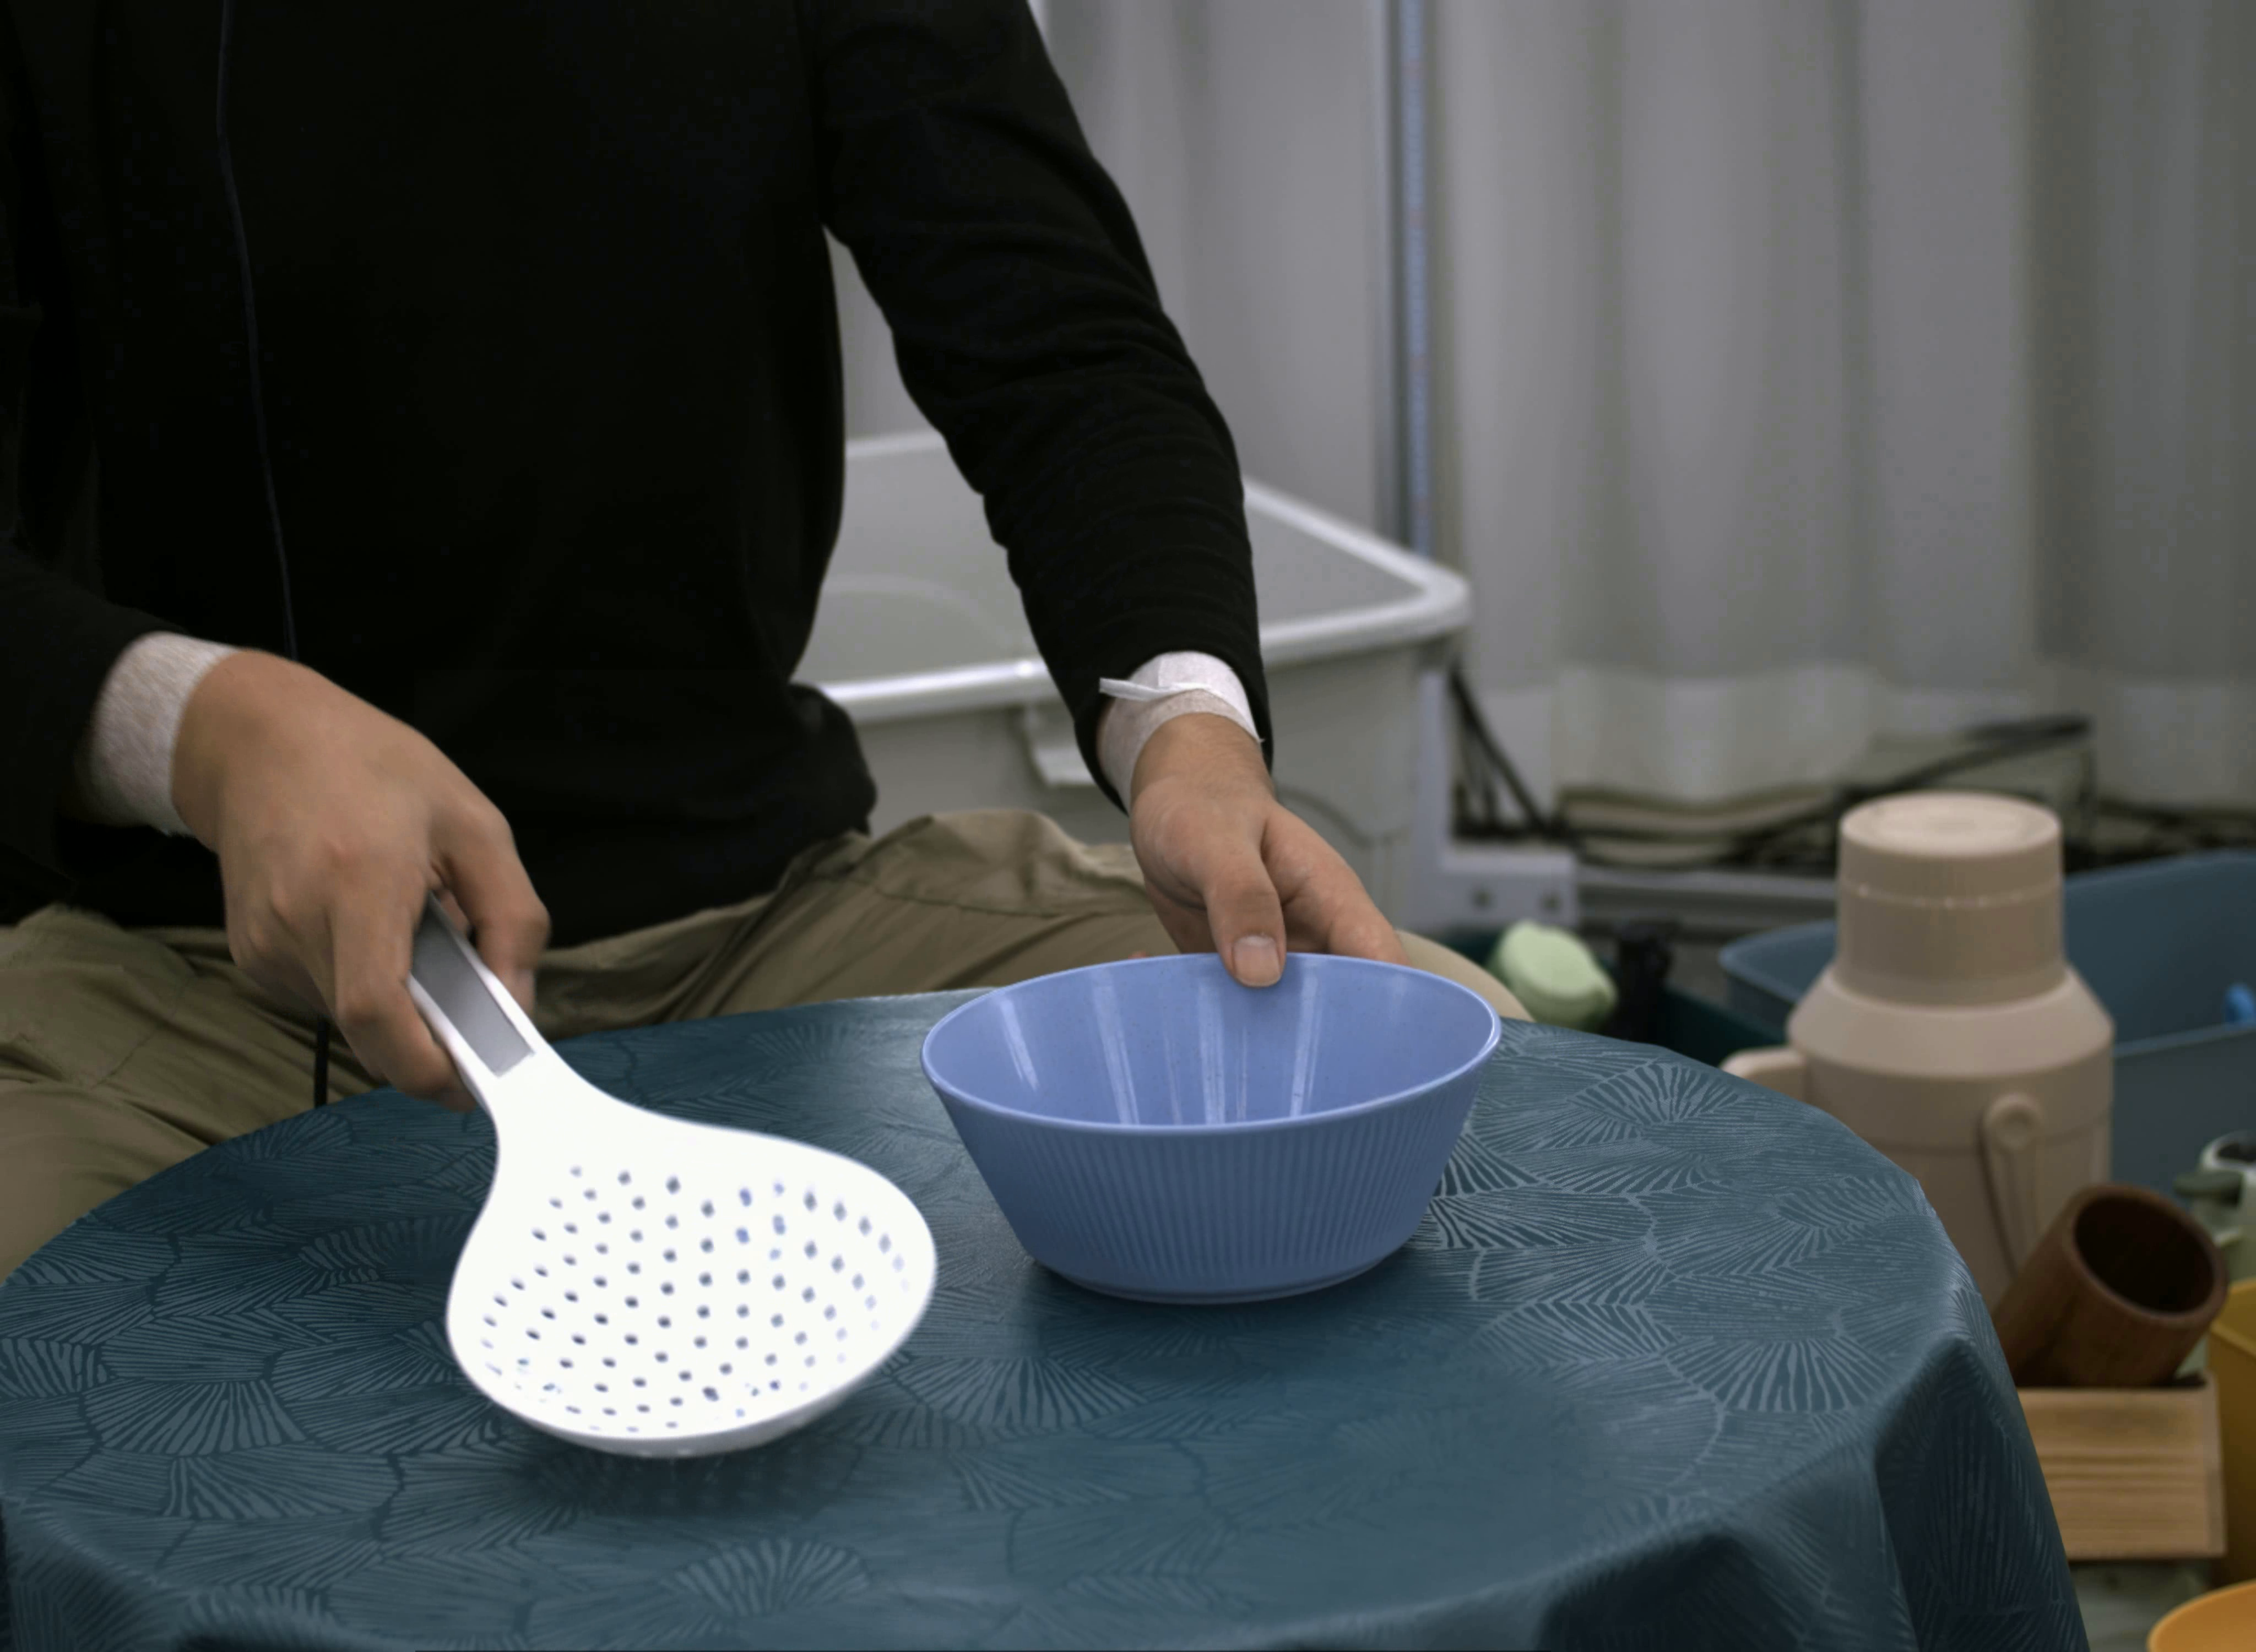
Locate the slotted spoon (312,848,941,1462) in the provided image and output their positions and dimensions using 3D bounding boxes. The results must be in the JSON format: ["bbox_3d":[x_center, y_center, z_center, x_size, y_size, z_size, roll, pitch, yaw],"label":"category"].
[{"bbox_3d":[-0.168,0.089,1.602,0.136,0.045,0.354,-19,37,-21],"label":"slotted spoon"}]

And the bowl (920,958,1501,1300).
[{"bbox_3d":[0.026,0.094,1.653,0.175,0.070,0.177,-3,14,0],"label":"bowl"}]
